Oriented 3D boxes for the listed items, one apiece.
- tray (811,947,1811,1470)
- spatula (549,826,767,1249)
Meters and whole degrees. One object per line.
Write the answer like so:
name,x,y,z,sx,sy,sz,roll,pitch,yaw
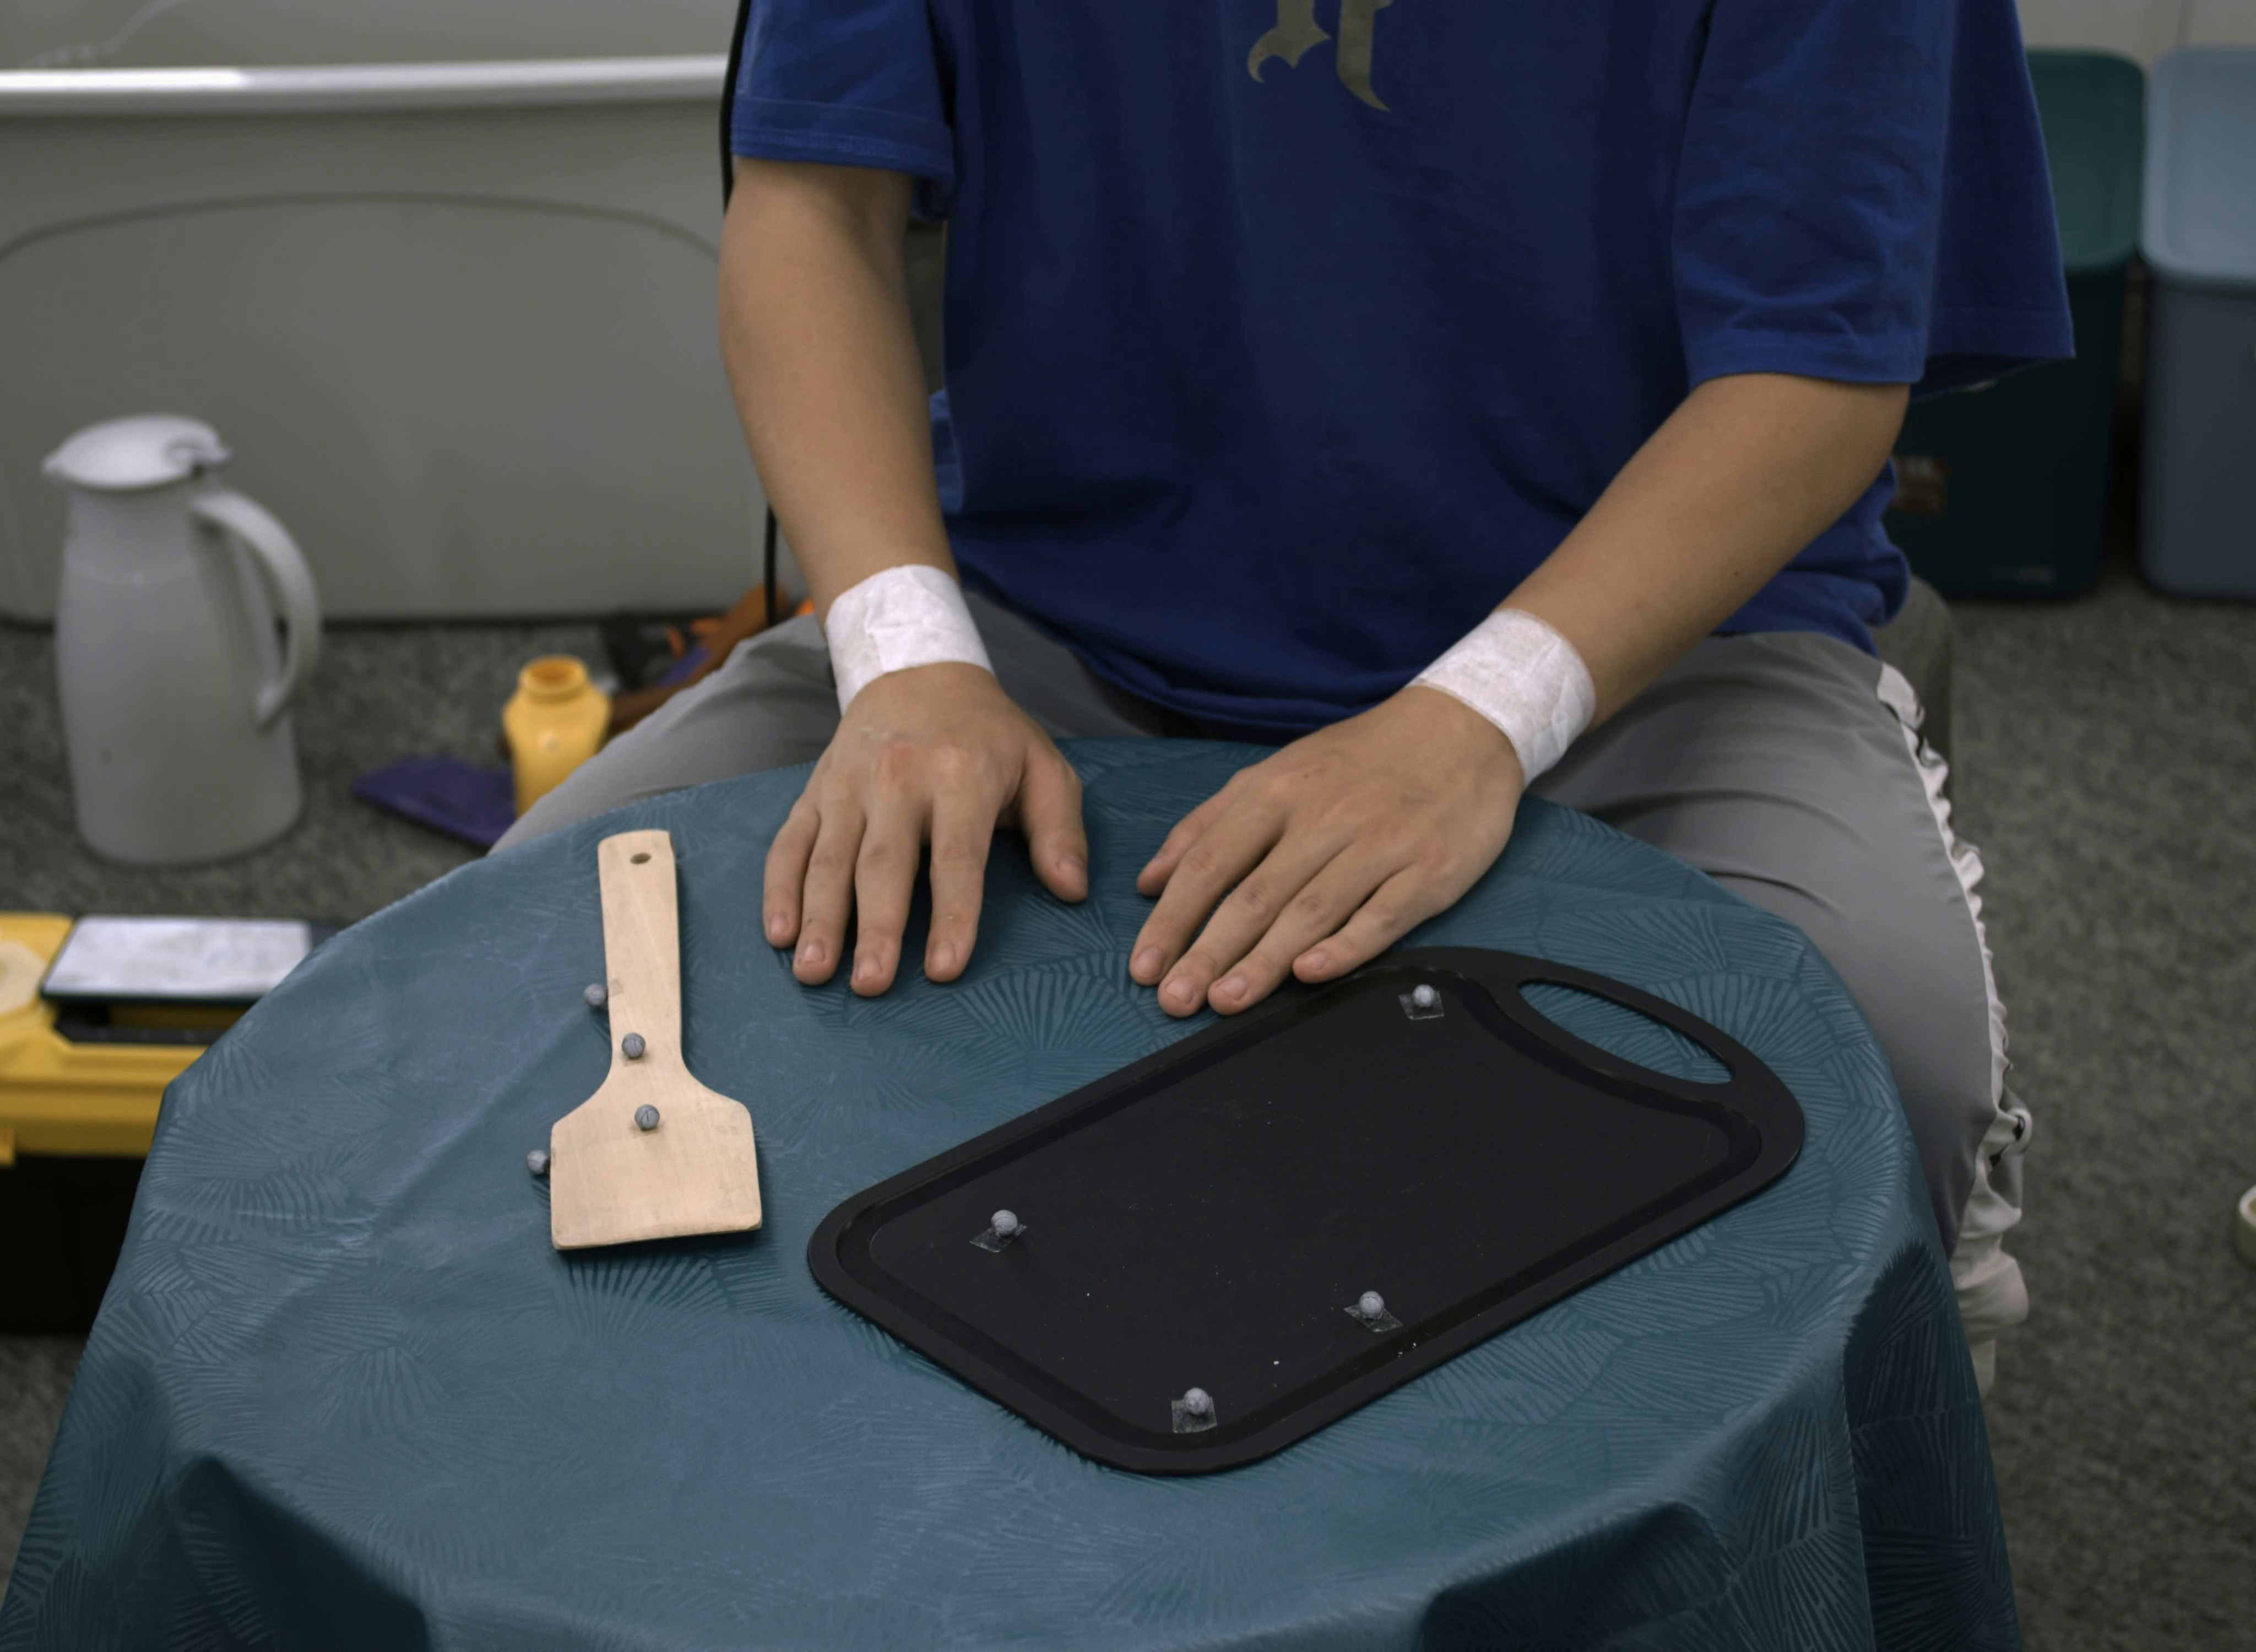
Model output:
tray,0.067,0.116,1.858,0.329,0.009,0.211,-23,33,-34
spatula,-0.168,0.070,1.968,0.072,0.010,0.297,-6,28,-3
